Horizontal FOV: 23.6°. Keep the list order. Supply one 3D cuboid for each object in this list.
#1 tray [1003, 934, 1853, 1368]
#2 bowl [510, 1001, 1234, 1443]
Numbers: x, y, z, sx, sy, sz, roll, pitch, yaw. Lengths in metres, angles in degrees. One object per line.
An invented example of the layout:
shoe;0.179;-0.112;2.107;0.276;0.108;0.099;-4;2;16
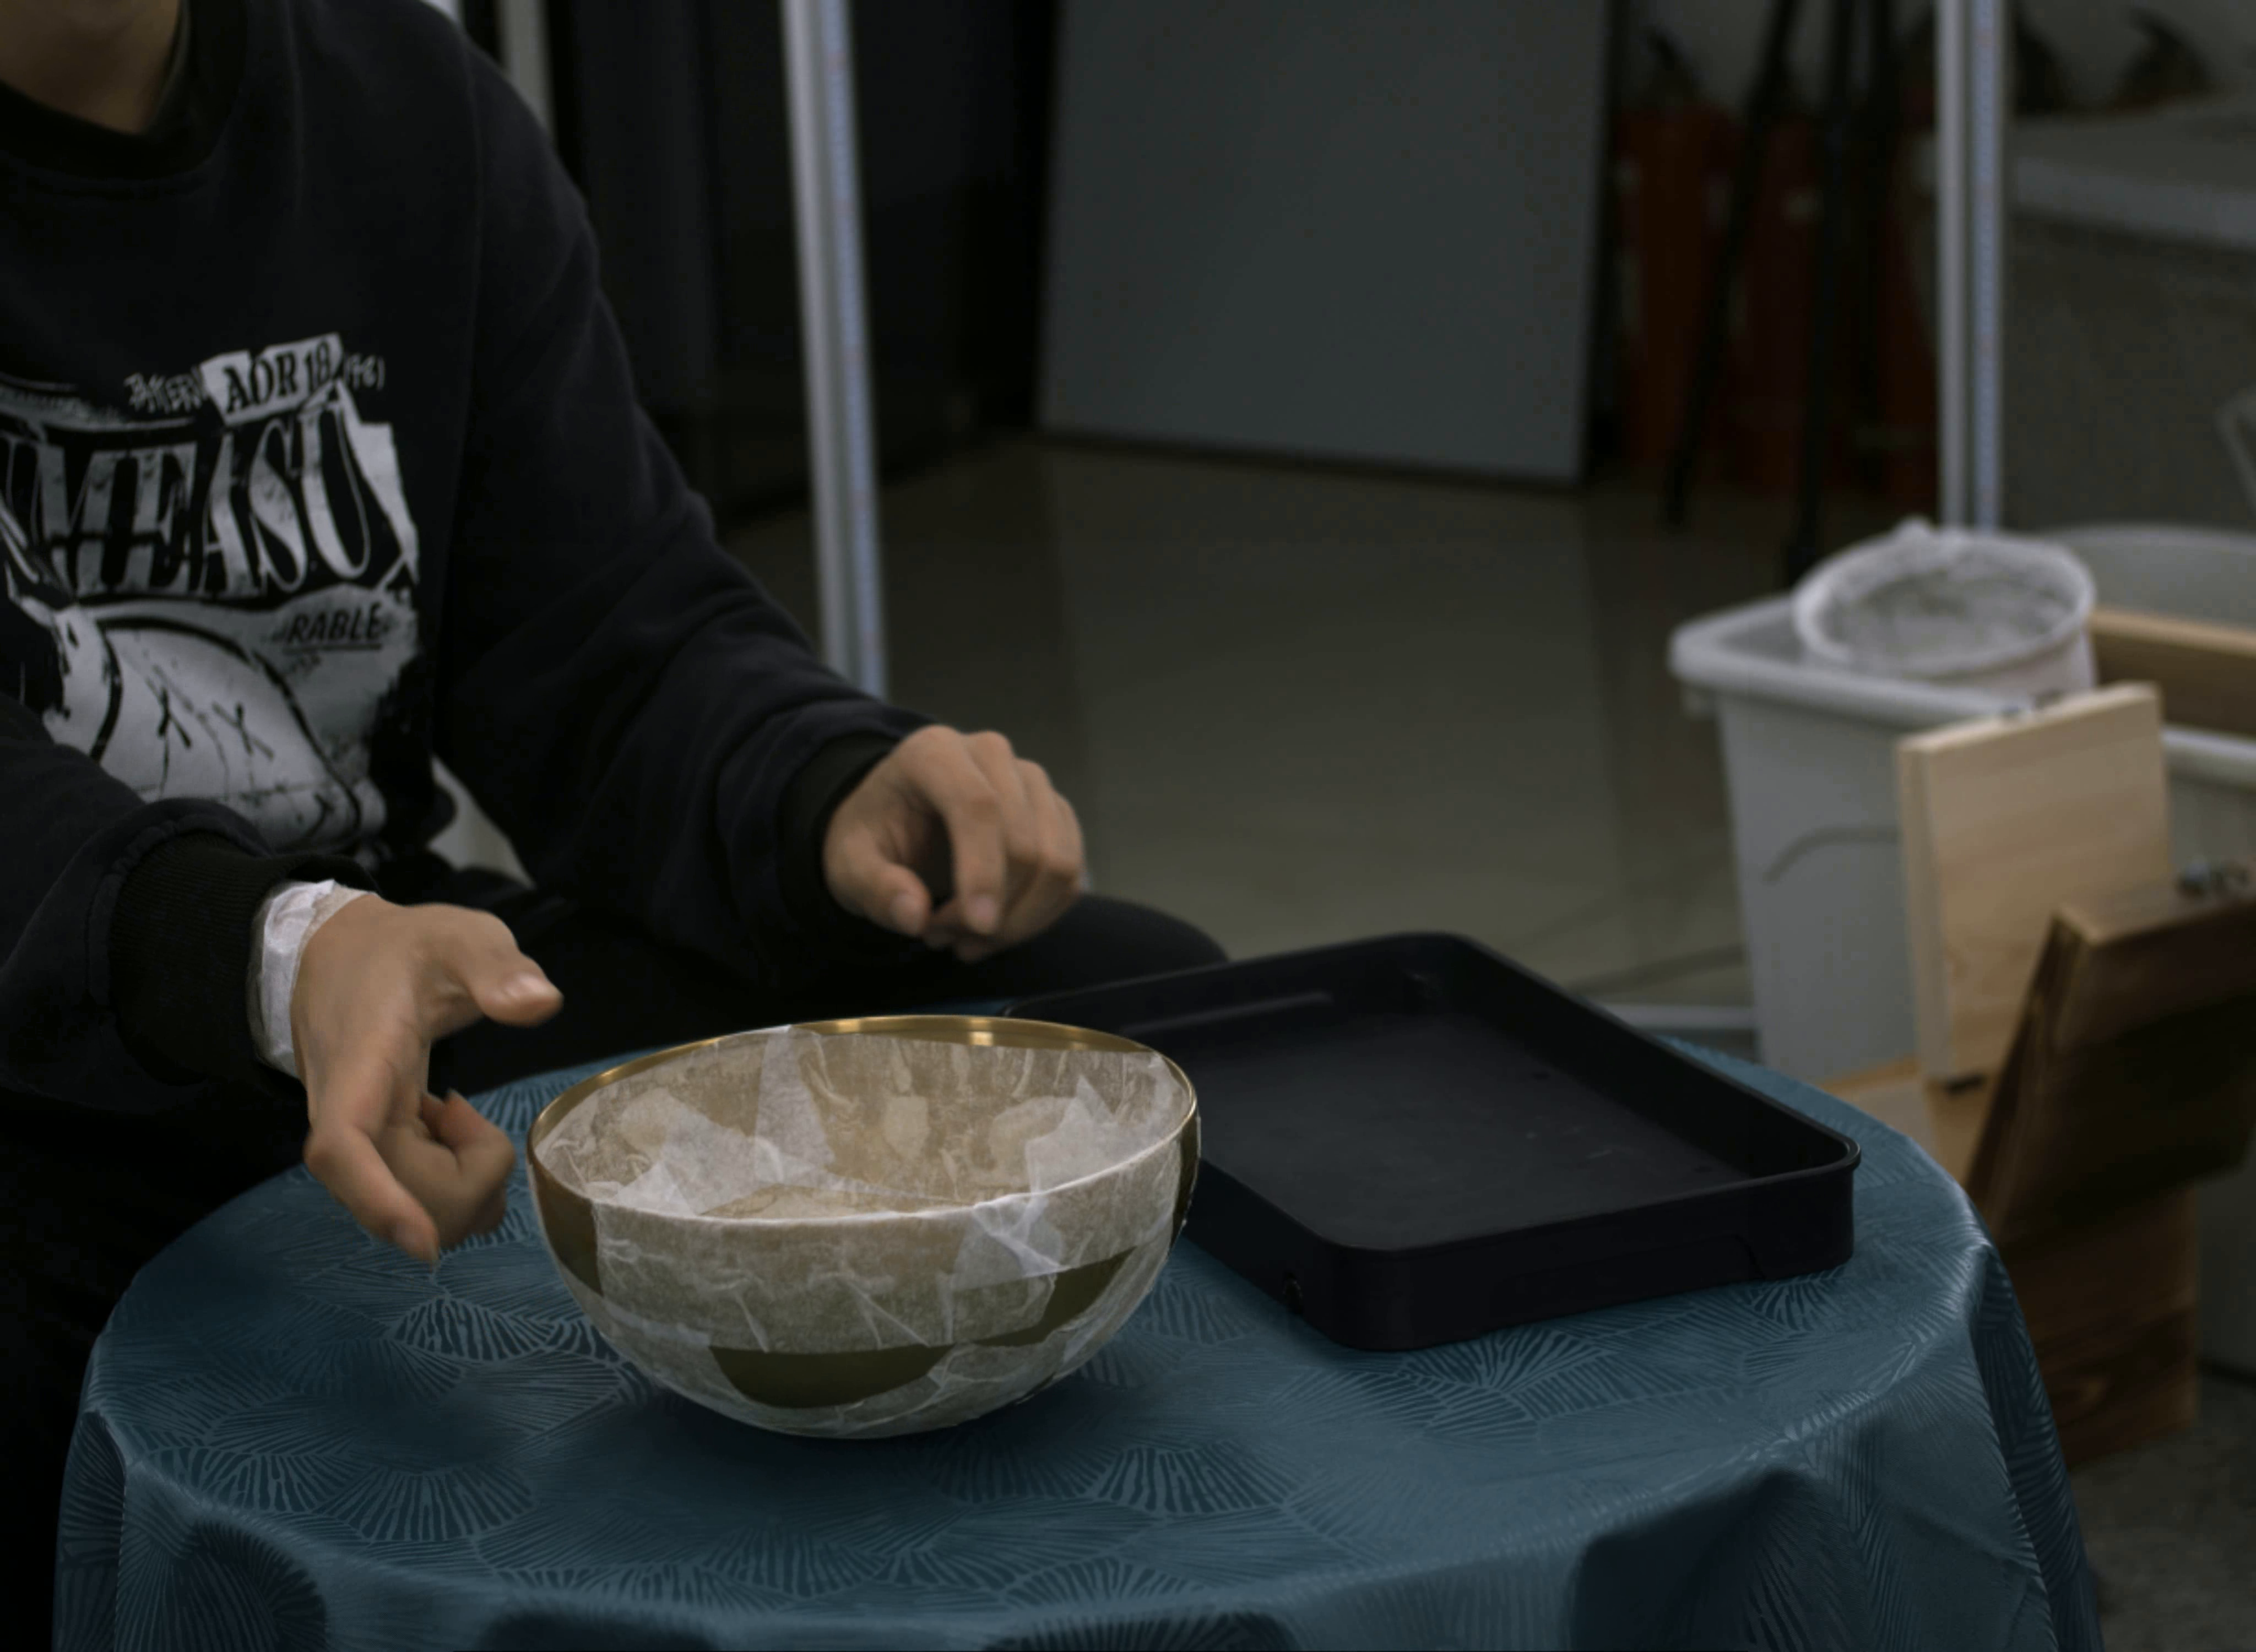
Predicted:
tray;0.091;0.101;1.763;0.180;0.037;0.321;-8;16;-19
bowl;-0.073;0.124;1.586;0.212;0.095;0.215;-5;14;0
